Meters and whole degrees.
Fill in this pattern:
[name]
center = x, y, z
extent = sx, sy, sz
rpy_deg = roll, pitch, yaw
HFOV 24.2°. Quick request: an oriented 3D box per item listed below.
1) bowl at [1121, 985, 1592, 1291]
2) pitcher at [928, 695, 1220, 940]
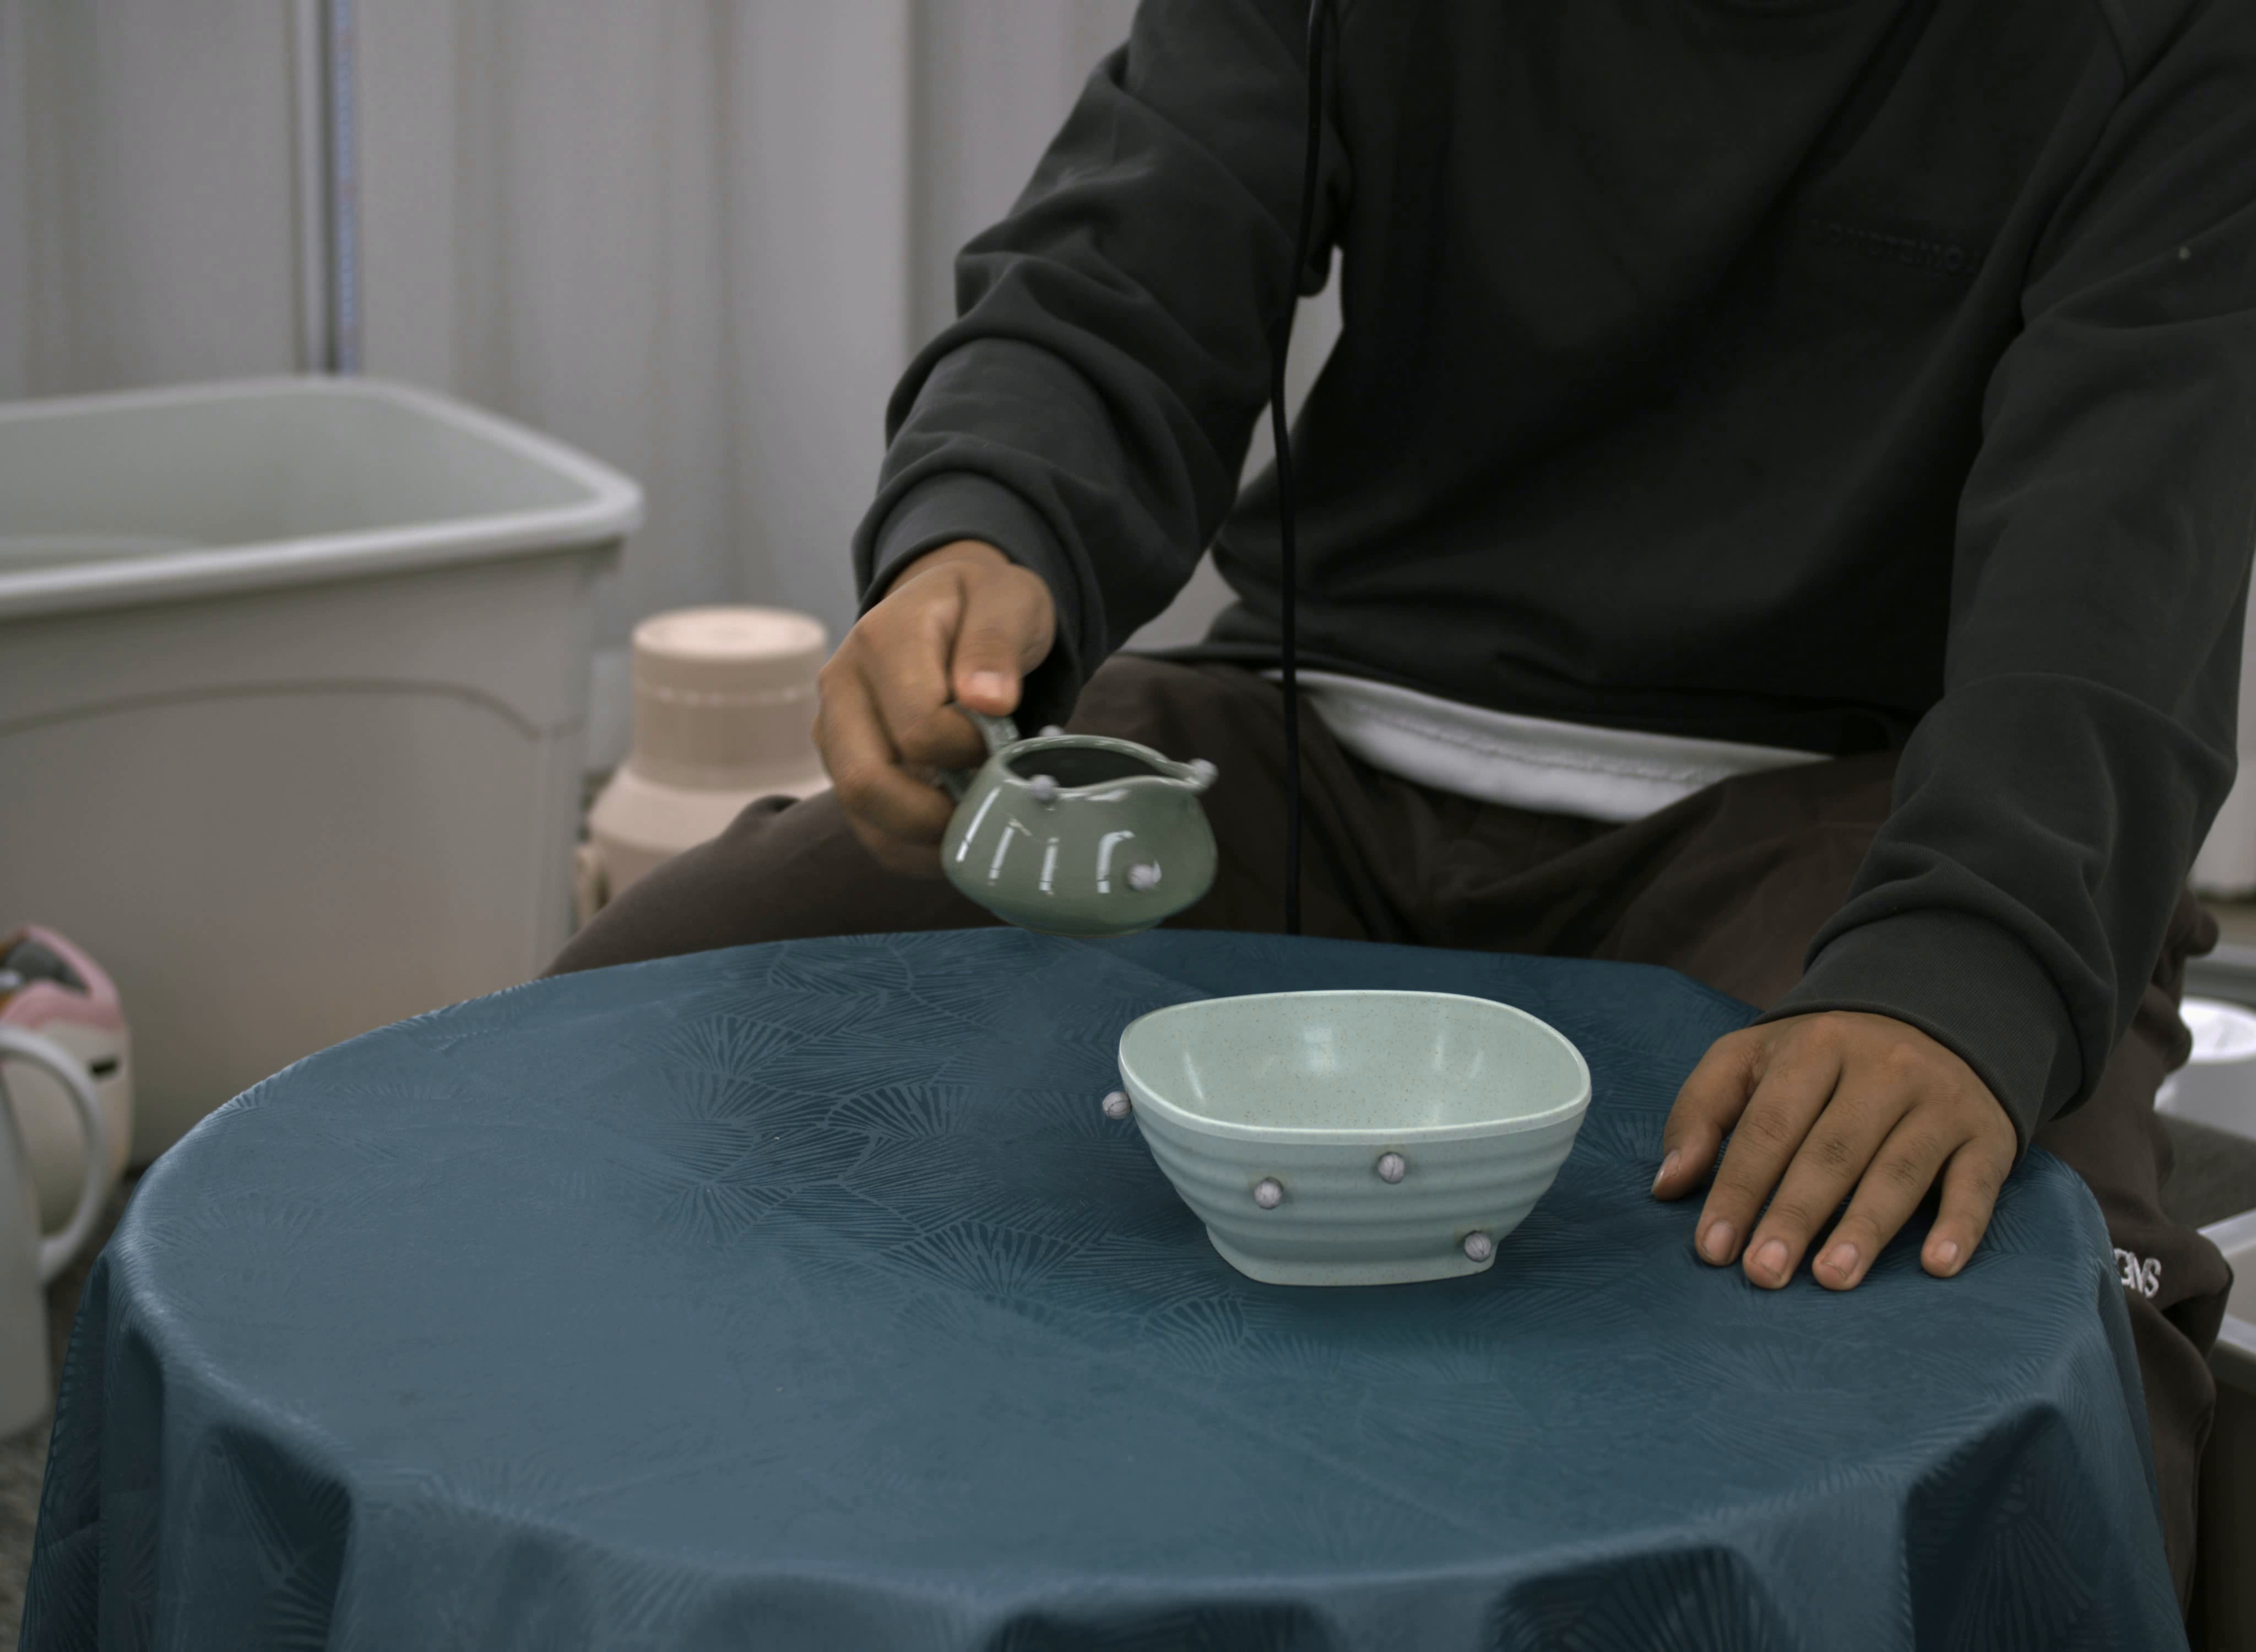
[bowl]
center = 0.068, 0.097, 1.582
extent = 0.151, 0.059, 0.150
rpy_deg = 1, 17, 0
[pitcher]
center = -0.018, -0.002, 1.606
extent = 0.111, 0.056, 0.084
rpy_deg = 20, 24, 37
